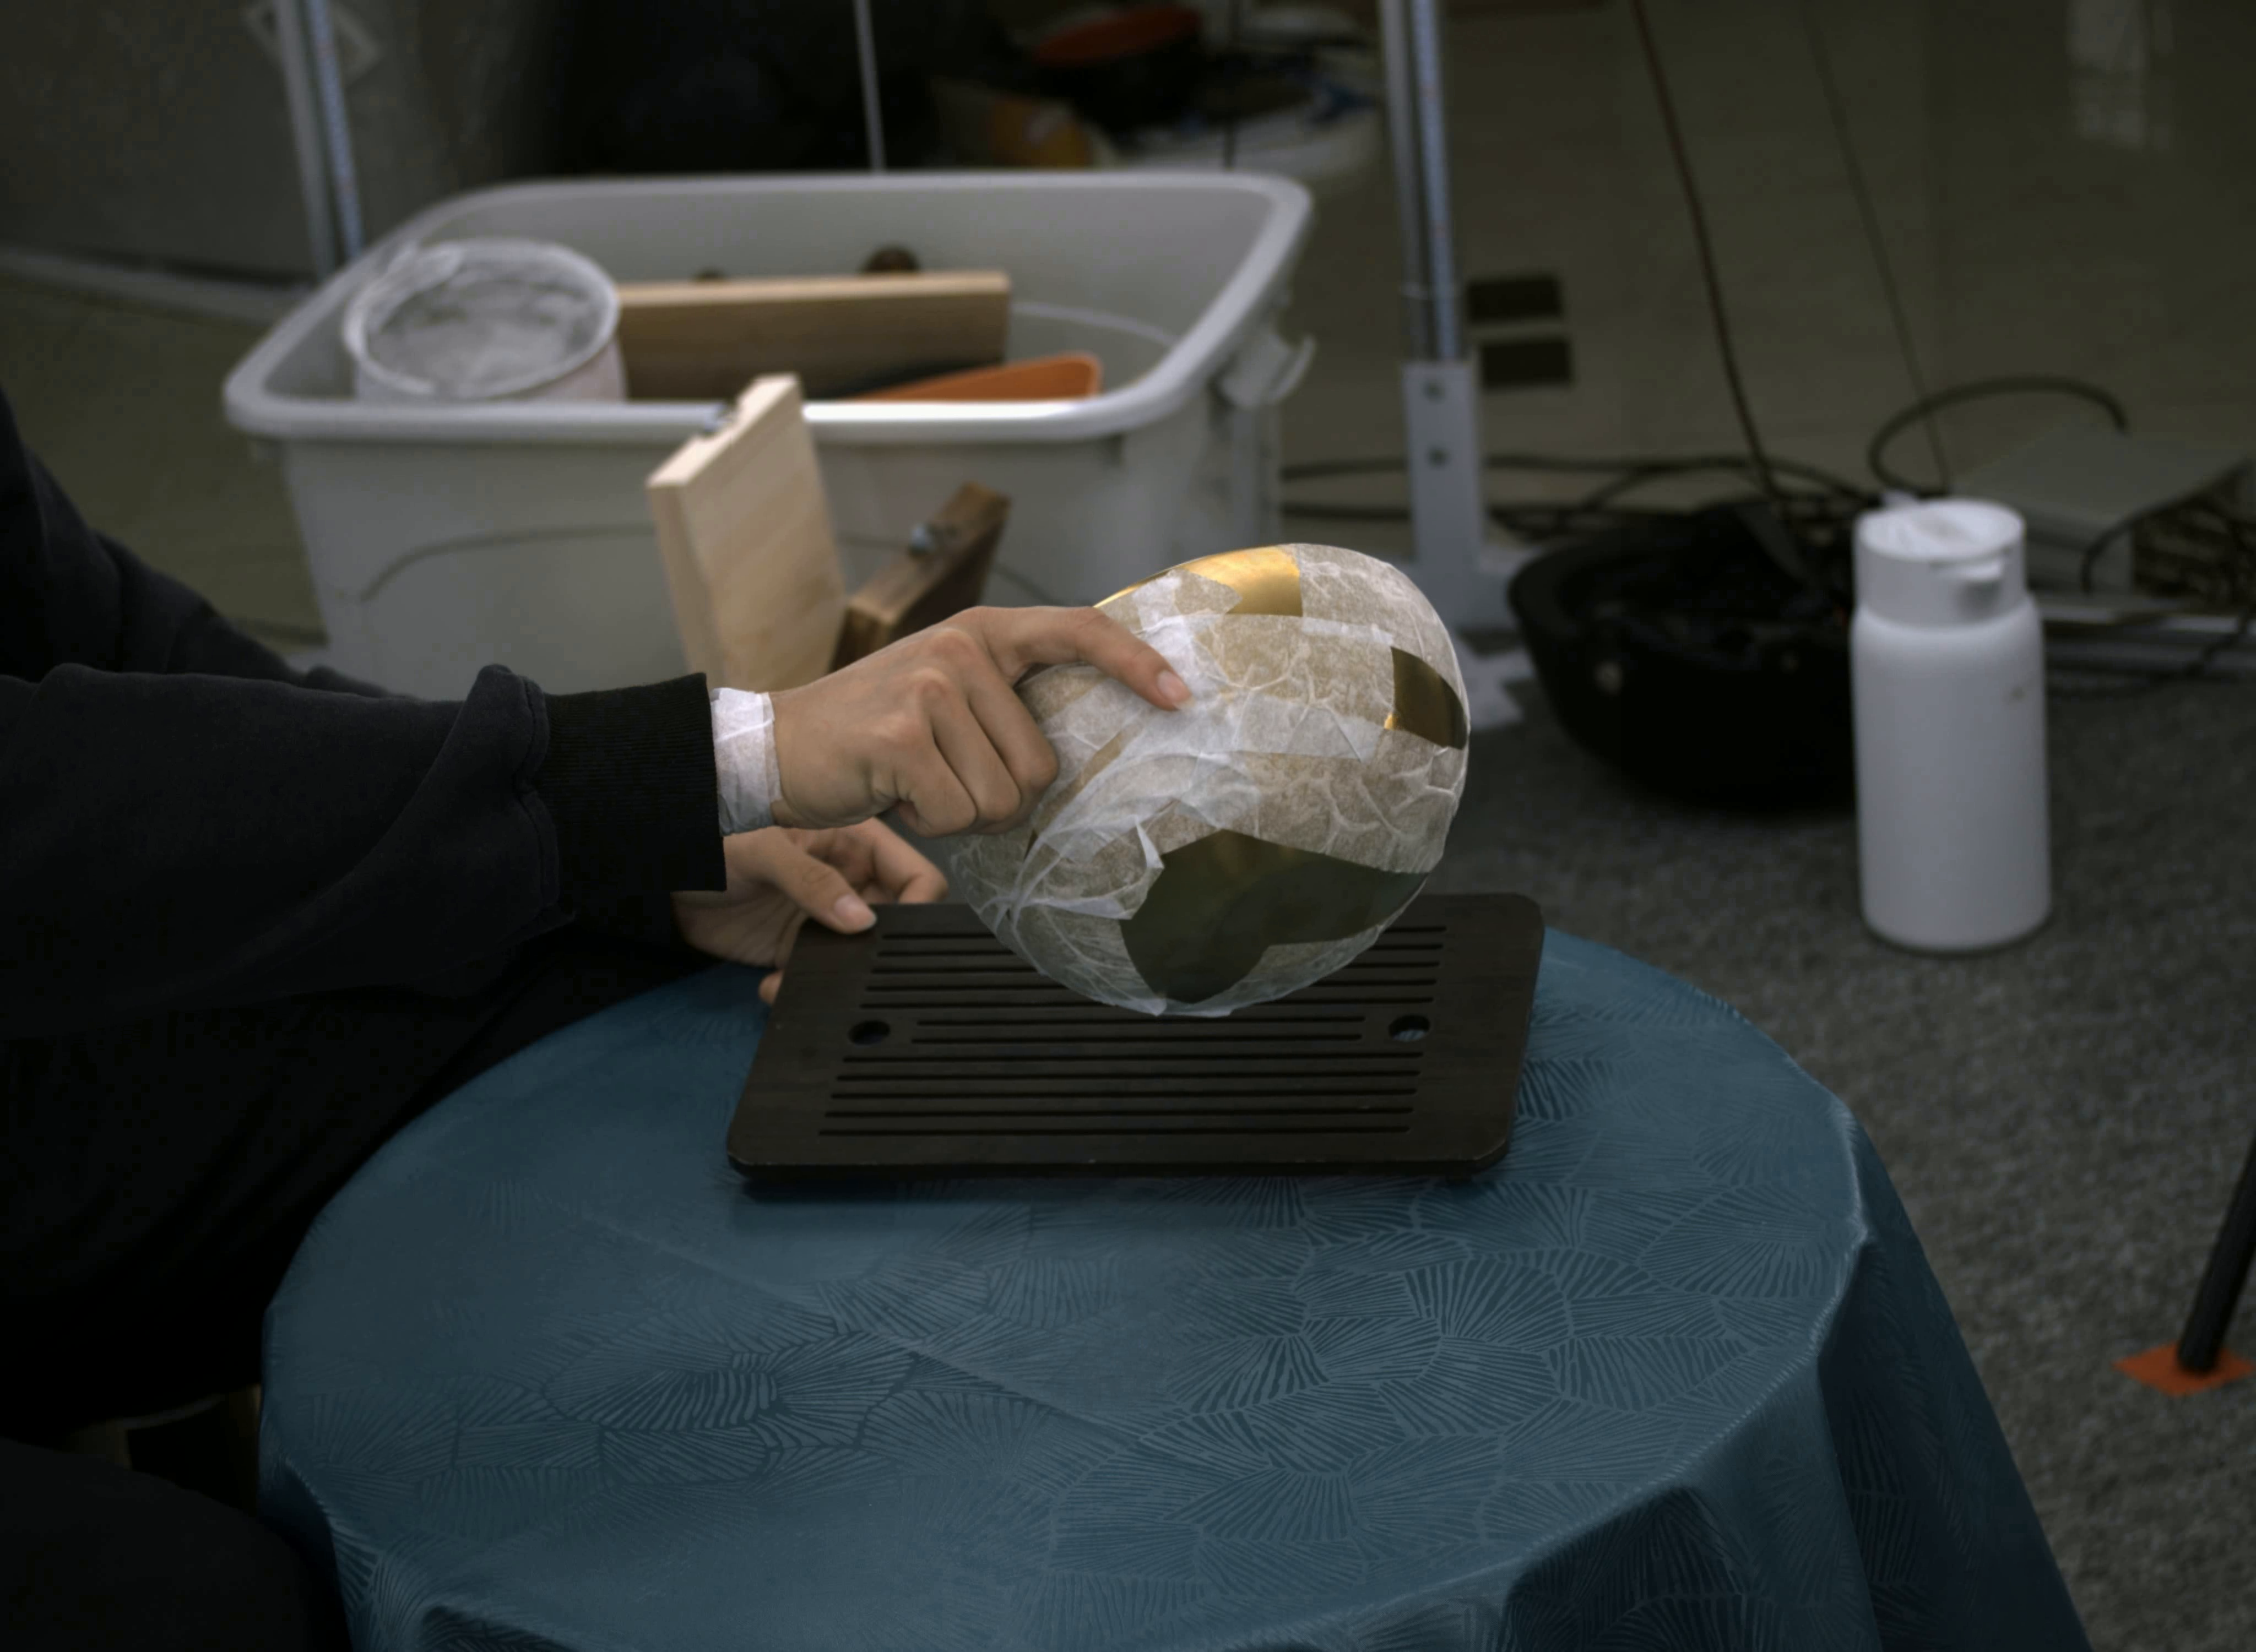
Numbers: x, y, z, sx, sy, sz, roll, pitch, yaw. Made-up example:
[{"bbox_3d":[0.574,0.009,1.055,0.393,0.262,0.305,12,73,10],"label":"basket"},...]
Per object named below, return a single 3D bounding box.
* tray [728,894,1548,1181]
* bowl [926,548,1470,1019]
[{"bbox_3d":[0.006,0.084,2.216,0.305,0.019,0.167,-1,36,12],"label":"tray"},{"bbox_3d":[0.038,0.005,2.051,0.214,0.219,0.093,-14,53,-17],"label":"bowl"}]
